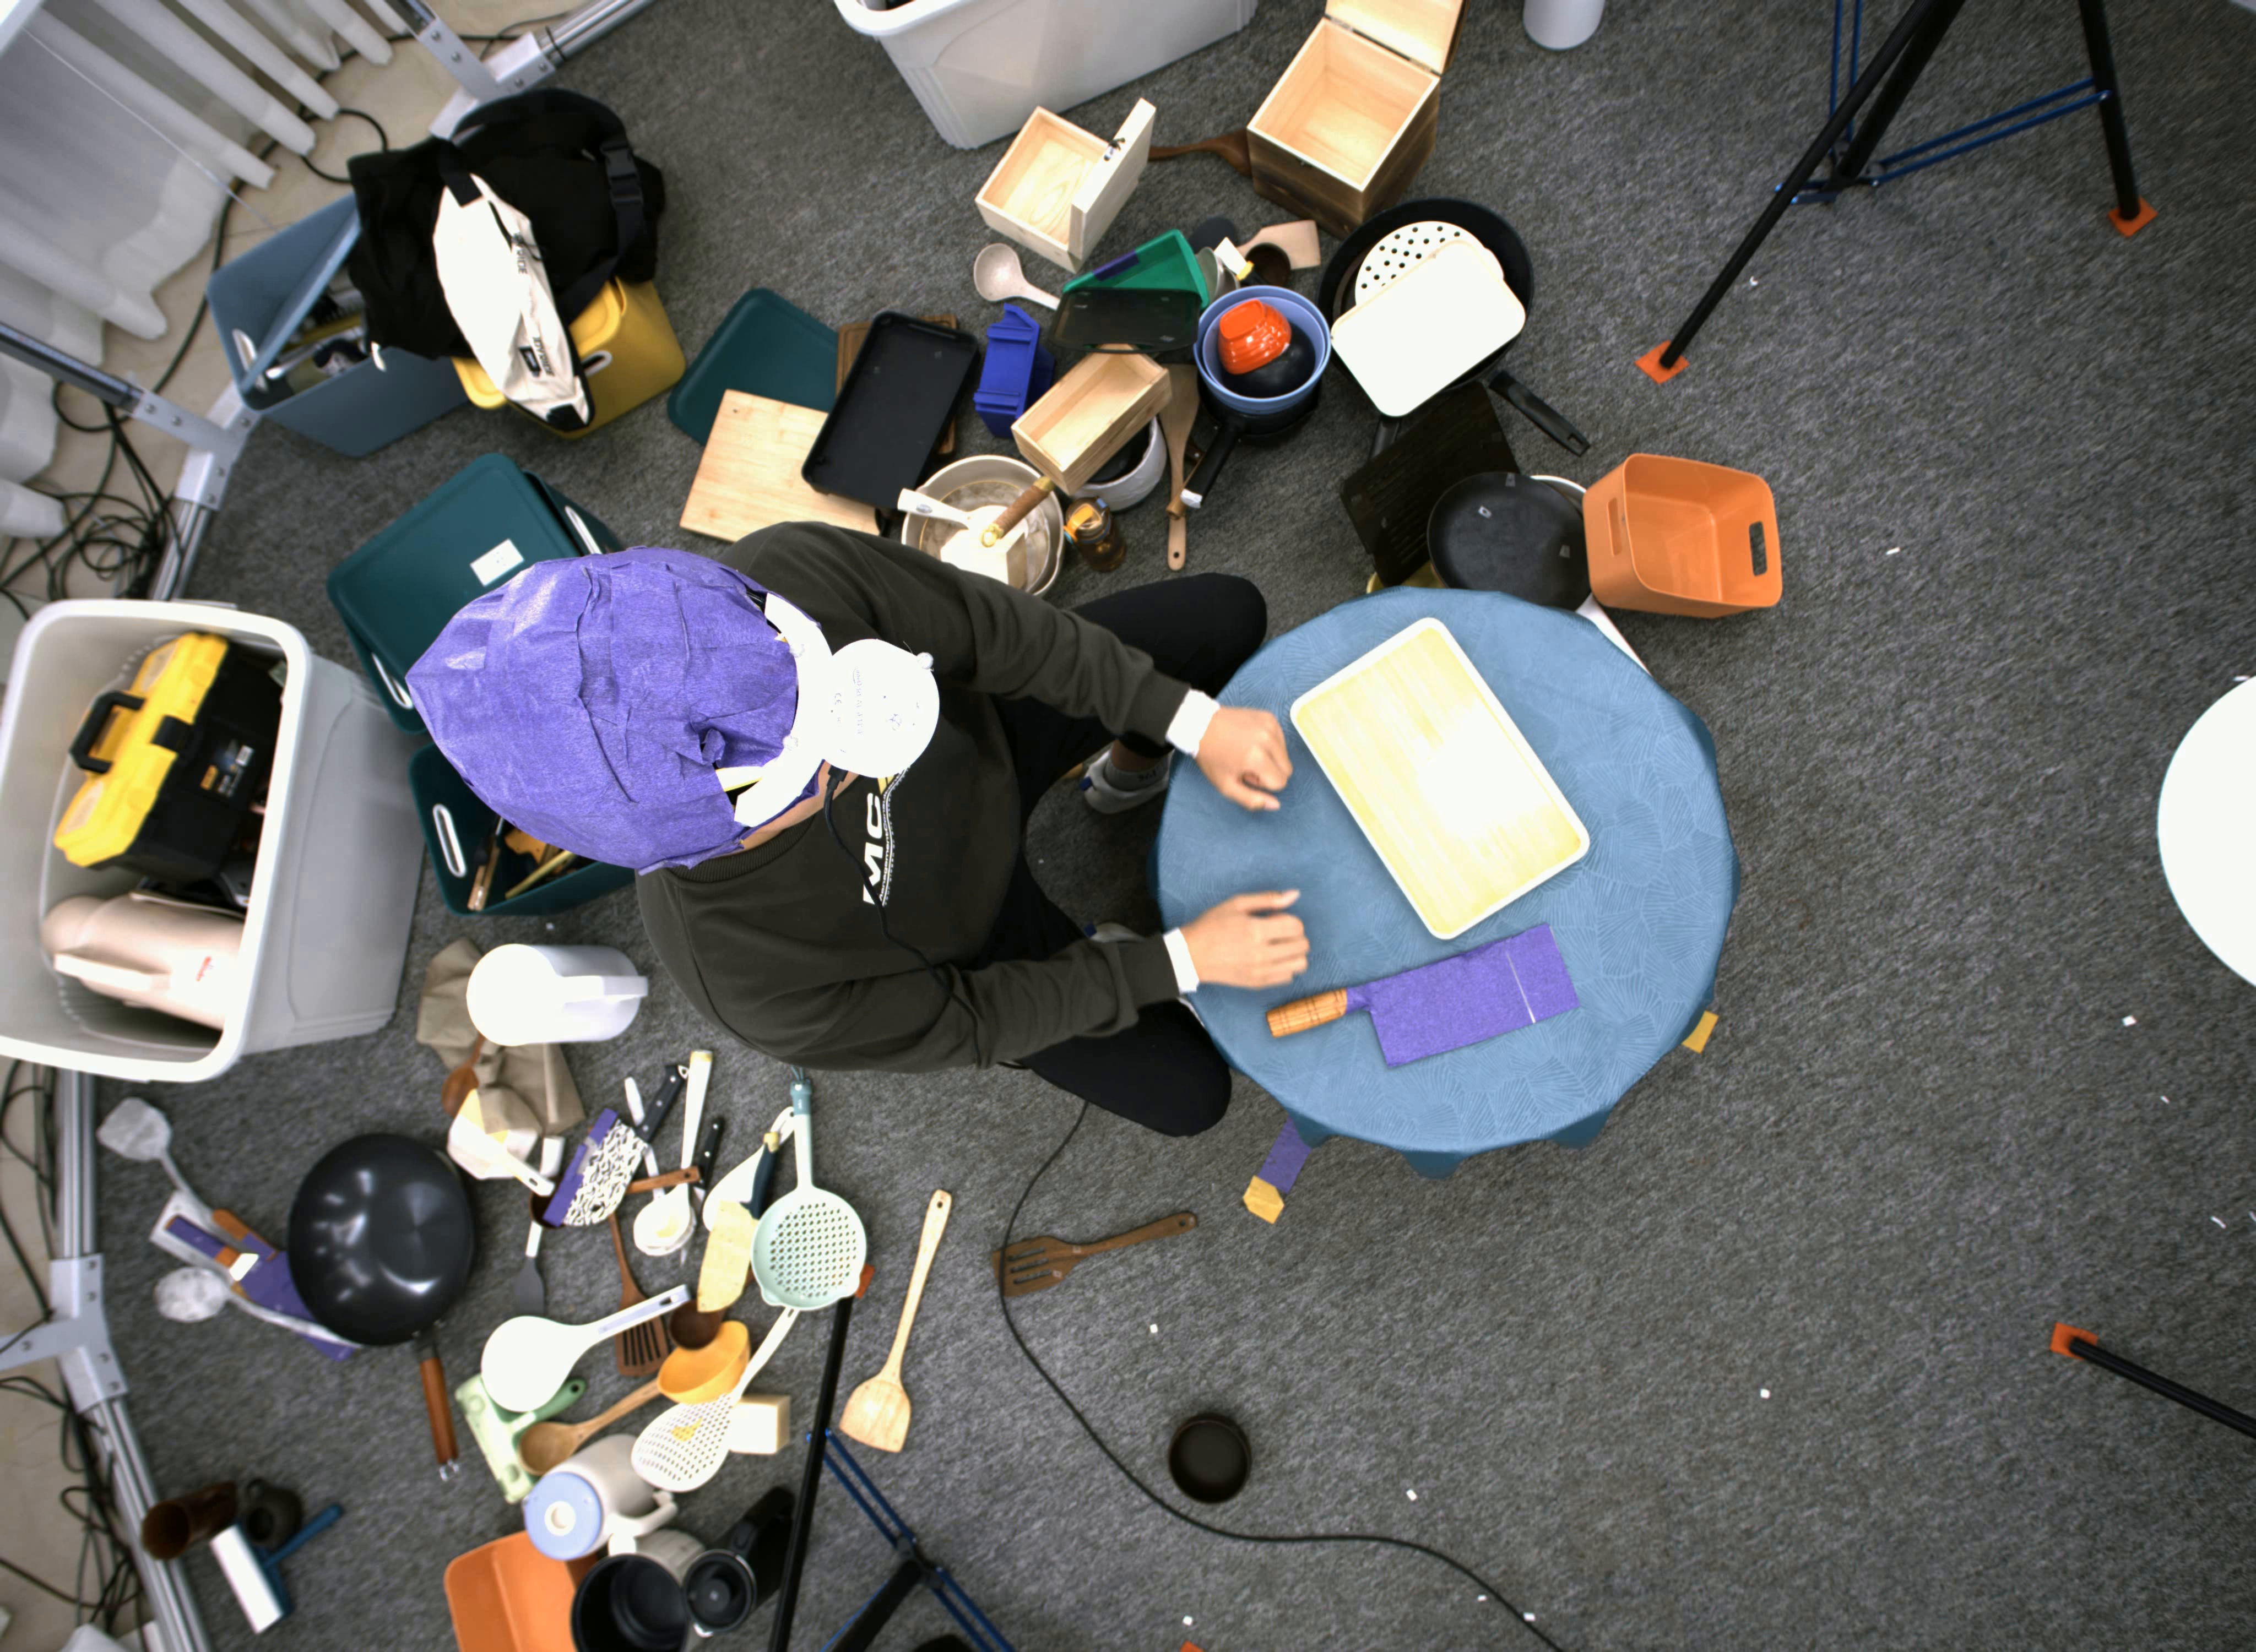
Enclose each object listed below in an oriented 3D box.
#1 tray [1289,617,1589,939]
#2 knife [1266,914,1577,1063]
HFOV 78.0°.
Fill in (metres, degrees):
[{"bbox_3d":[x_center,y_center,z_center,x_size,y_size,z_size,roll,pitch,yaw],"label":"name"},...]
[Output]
[{"bbox_3d":[0.323,-0.053,1.443,0.193,0.027,0.298,-33,81,8],"label":"tray"},{"bbox_3d":[0.305,0.188,1.433,0.317,0.032,0.103,-20,82,8],"label":"knife"}]
